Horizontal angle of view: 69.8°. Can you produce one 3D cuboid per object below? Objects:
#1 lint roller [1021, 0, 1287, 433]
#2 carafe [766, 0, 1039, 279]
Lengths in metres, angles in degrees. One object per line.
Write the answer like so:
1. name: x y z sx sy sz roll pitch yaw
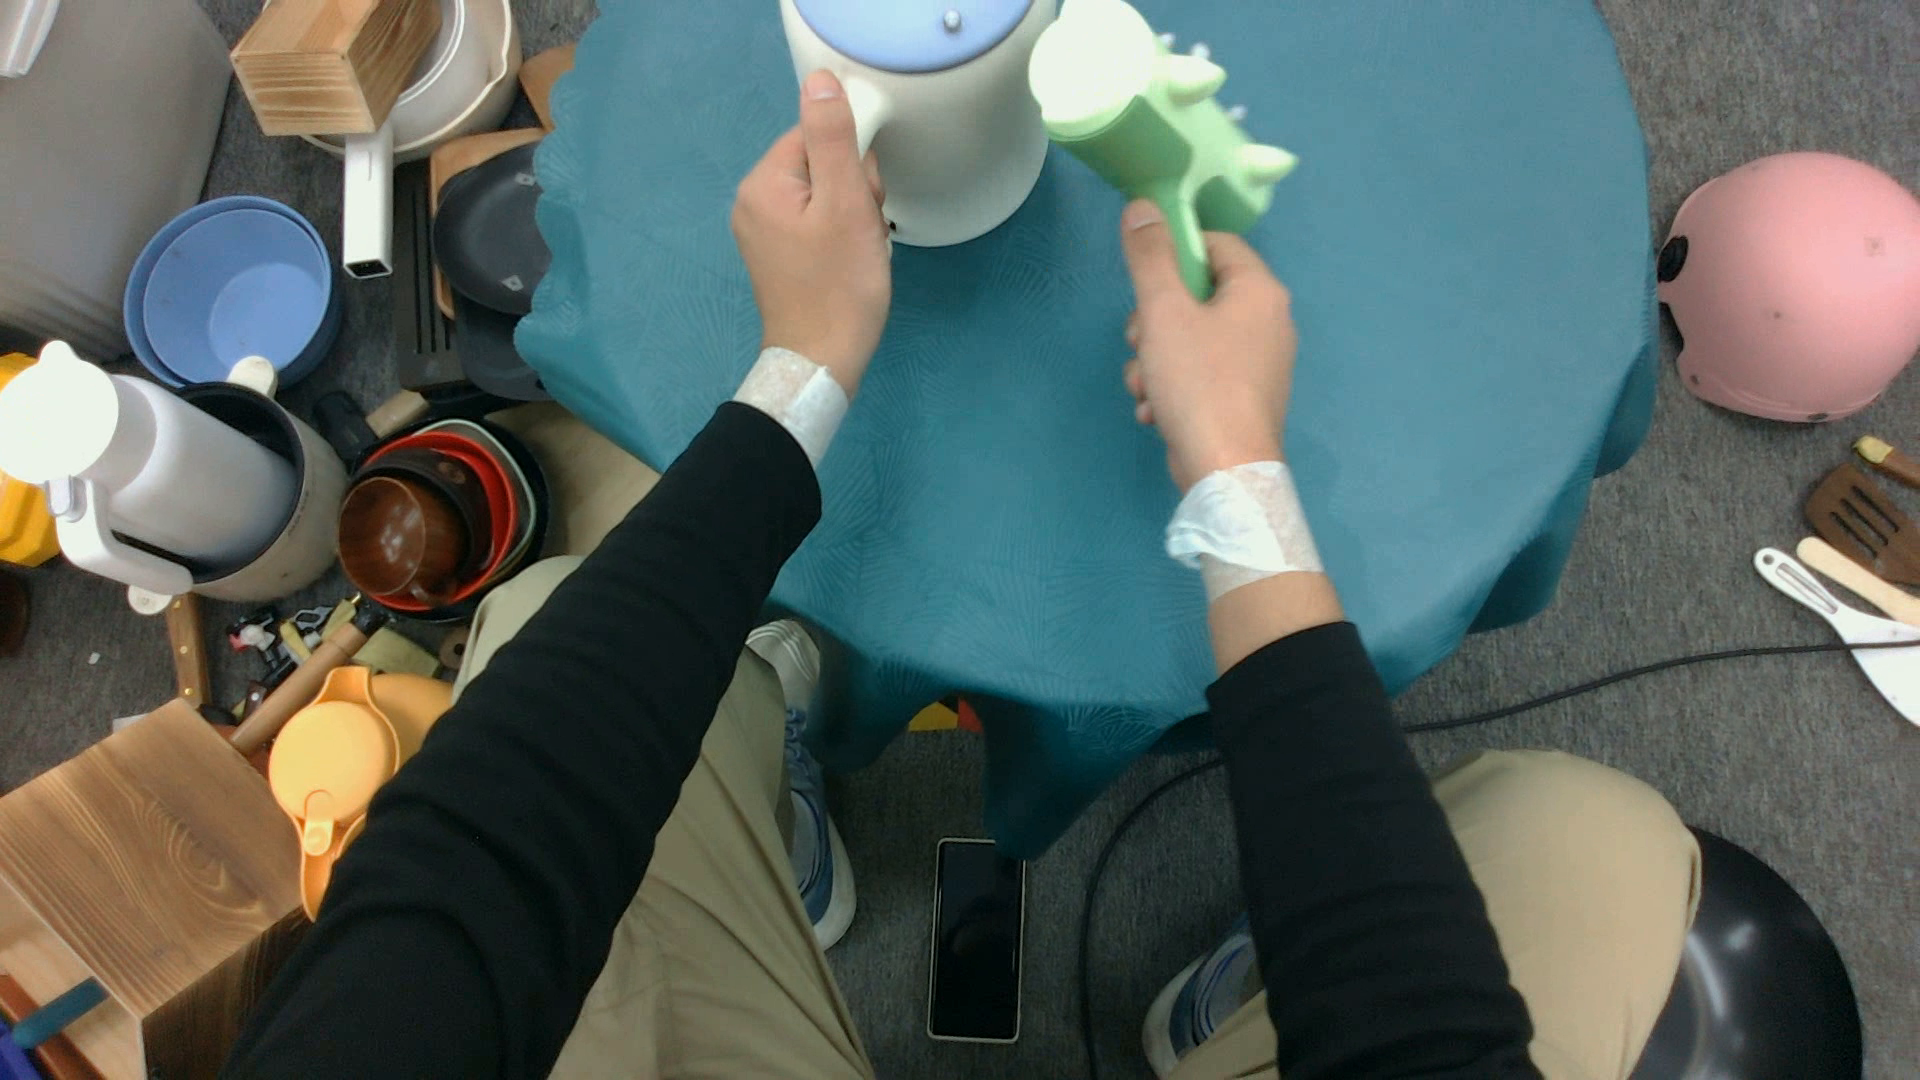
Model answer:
1. lint roller: 0.109 -0.146 0.644 0.082 0.199 0.183 -17 78 27
2. carafe: -0.035 -0.228 0.699 0.132 0.182 0.191 20 80 6
